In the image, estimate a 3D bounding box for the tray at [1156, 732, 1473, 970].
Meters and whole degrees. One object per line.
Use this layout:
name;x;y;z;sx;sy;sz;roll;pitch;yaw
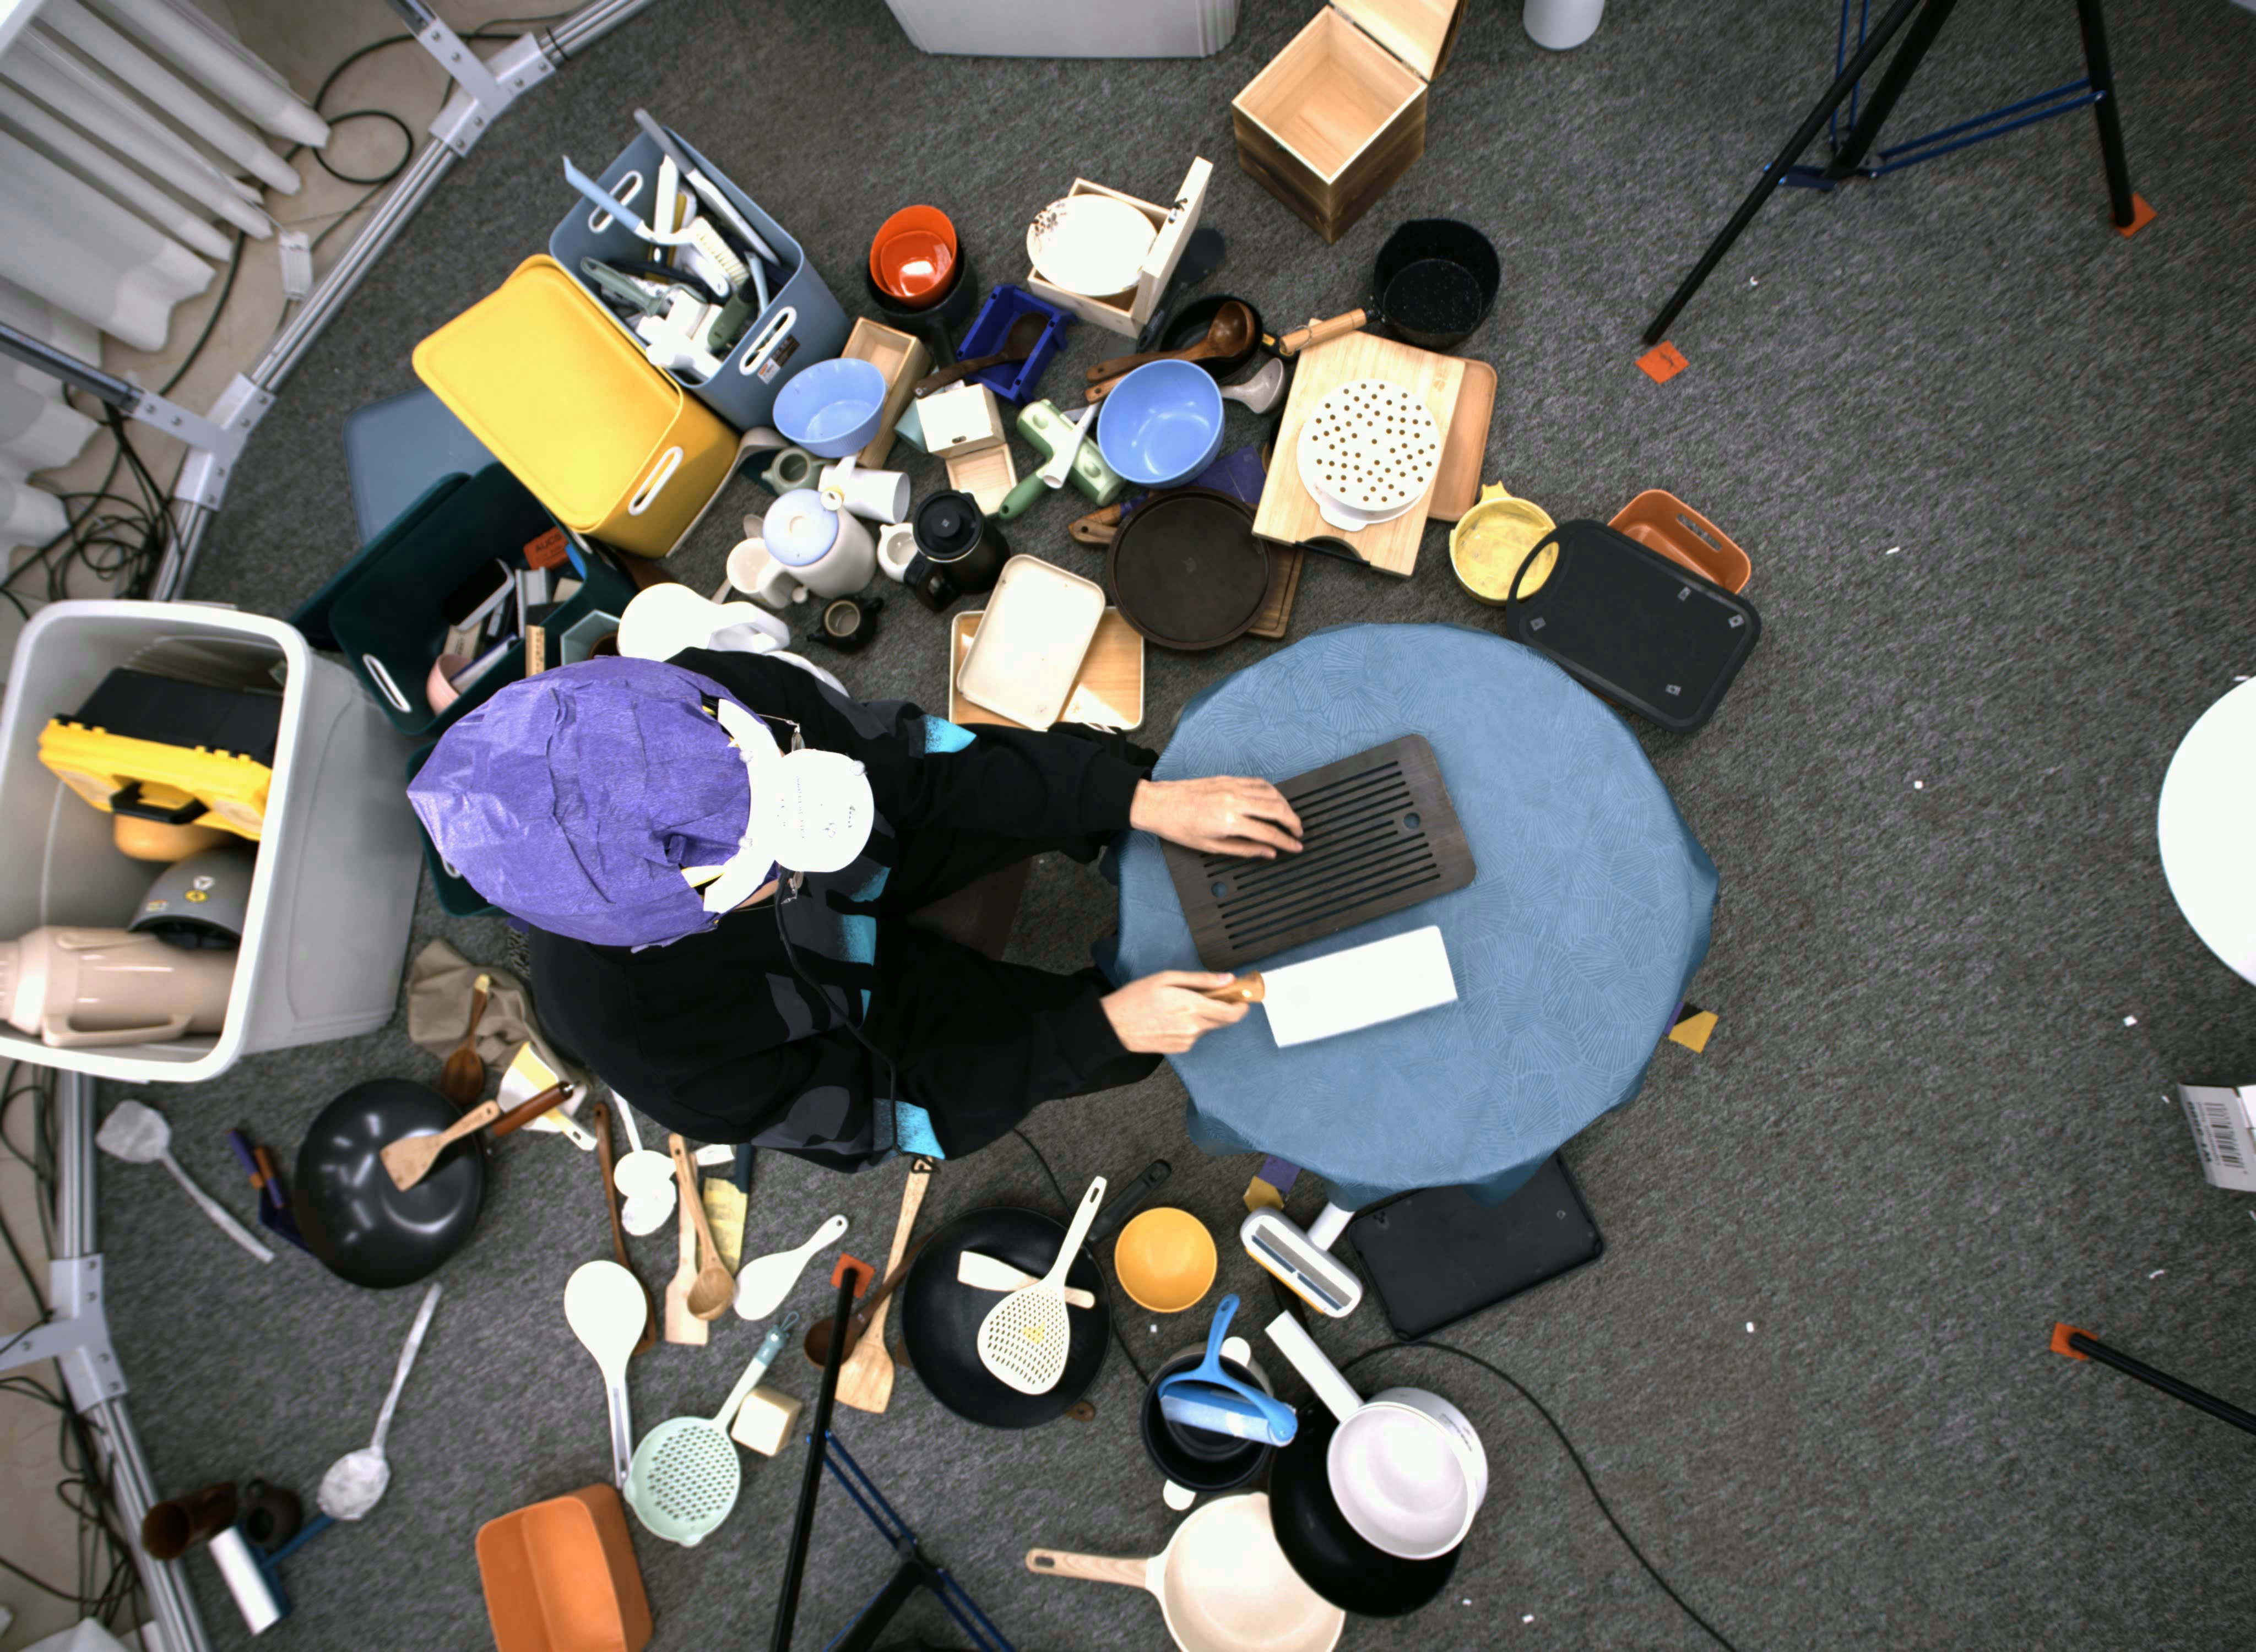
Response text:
tray;0.195;0.027;1.467;0.308;0.018;0.169;-20;84;9

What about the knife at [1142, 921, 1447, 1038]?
knife;0.170;0.171;1.404;0.307;0.020;0.094;-17;120;10
